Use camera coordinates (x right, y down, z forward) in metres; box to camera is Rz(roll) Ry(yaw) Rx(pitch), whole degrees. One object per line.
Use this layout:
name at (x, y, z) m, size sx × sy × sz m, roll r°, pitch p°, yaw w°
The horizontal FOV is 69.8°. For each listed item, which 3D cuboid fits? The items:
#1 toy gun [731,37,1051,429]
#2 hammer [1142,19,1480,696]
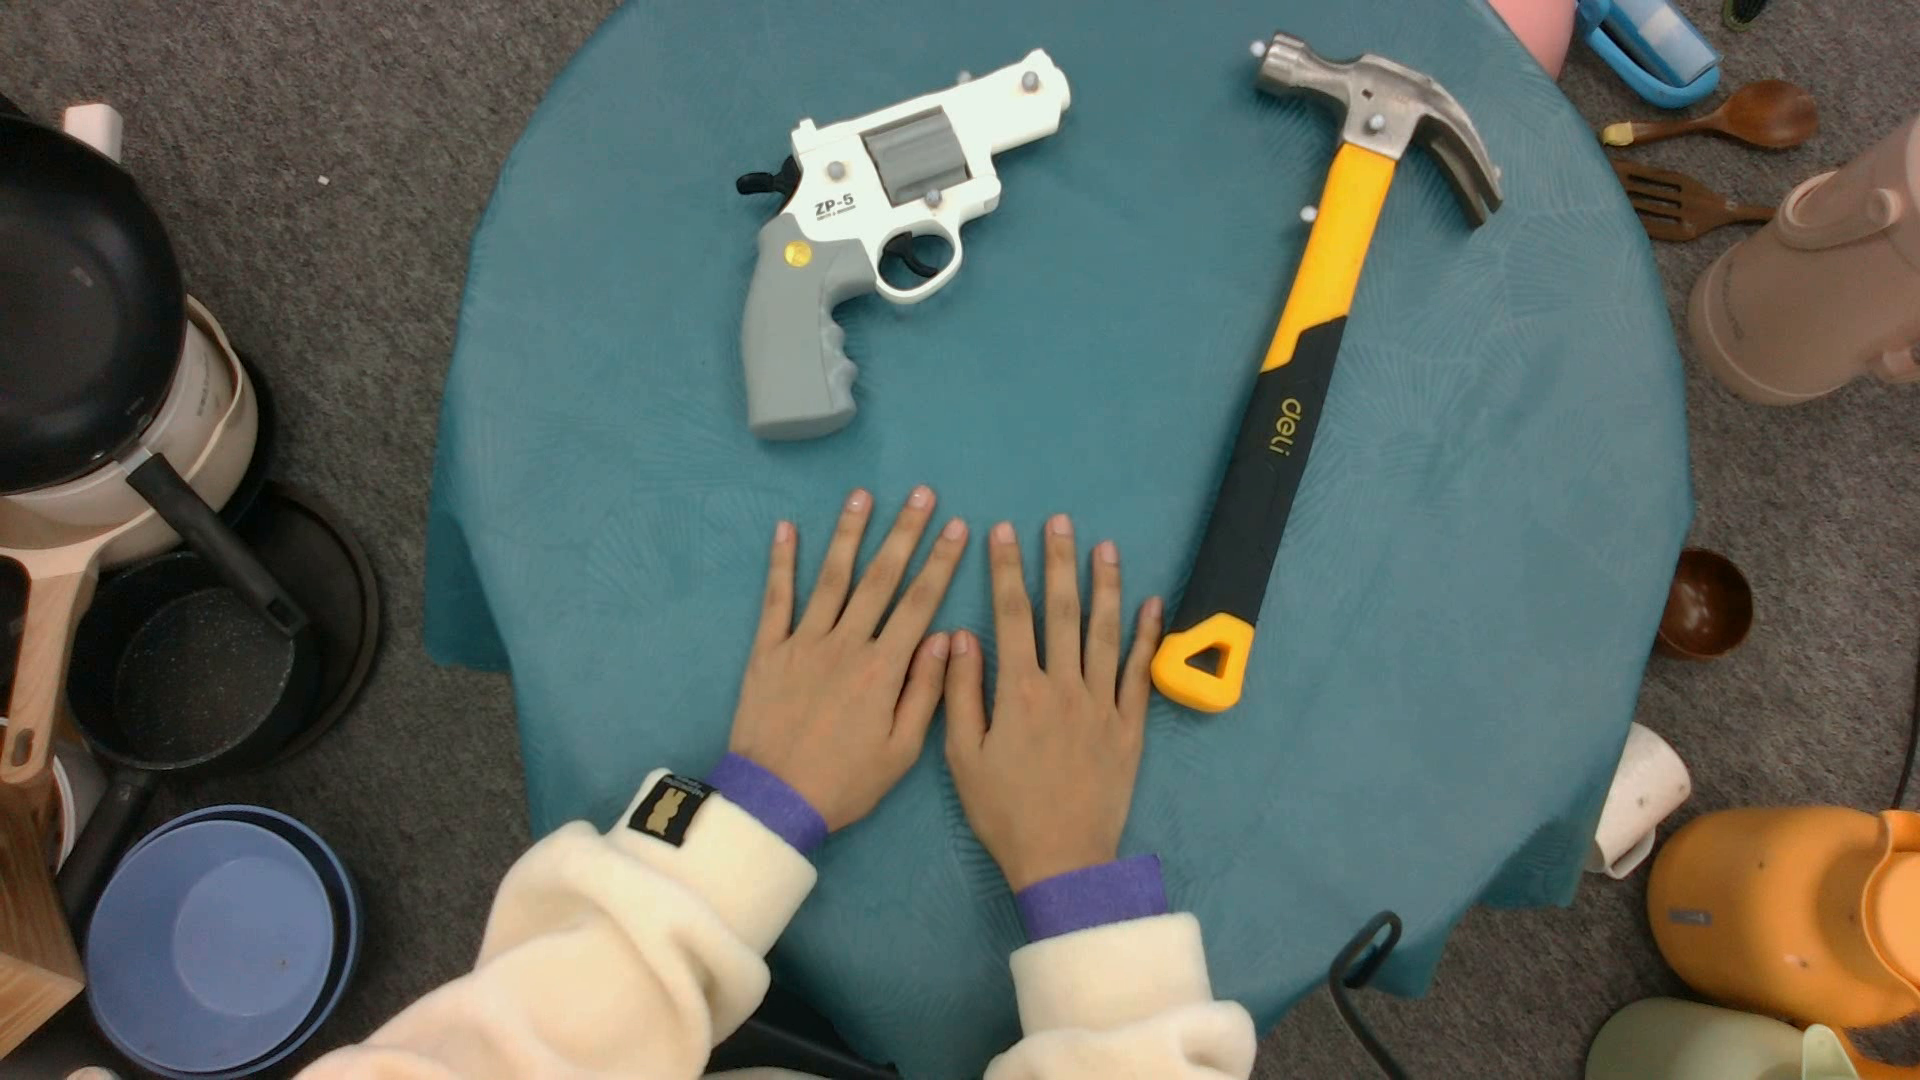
toy gun at (-0.031, -0.150, 0.657) m, size 0.209 × 0.039 × 0.142 m, roll -24°, pitch 79°, yaw -9°
hammer at (0.154, -0.088, 0.657) m, size 0.131 × 0.032 × 0.339 m, roll 20°, pitch 75°, yaw -1°
